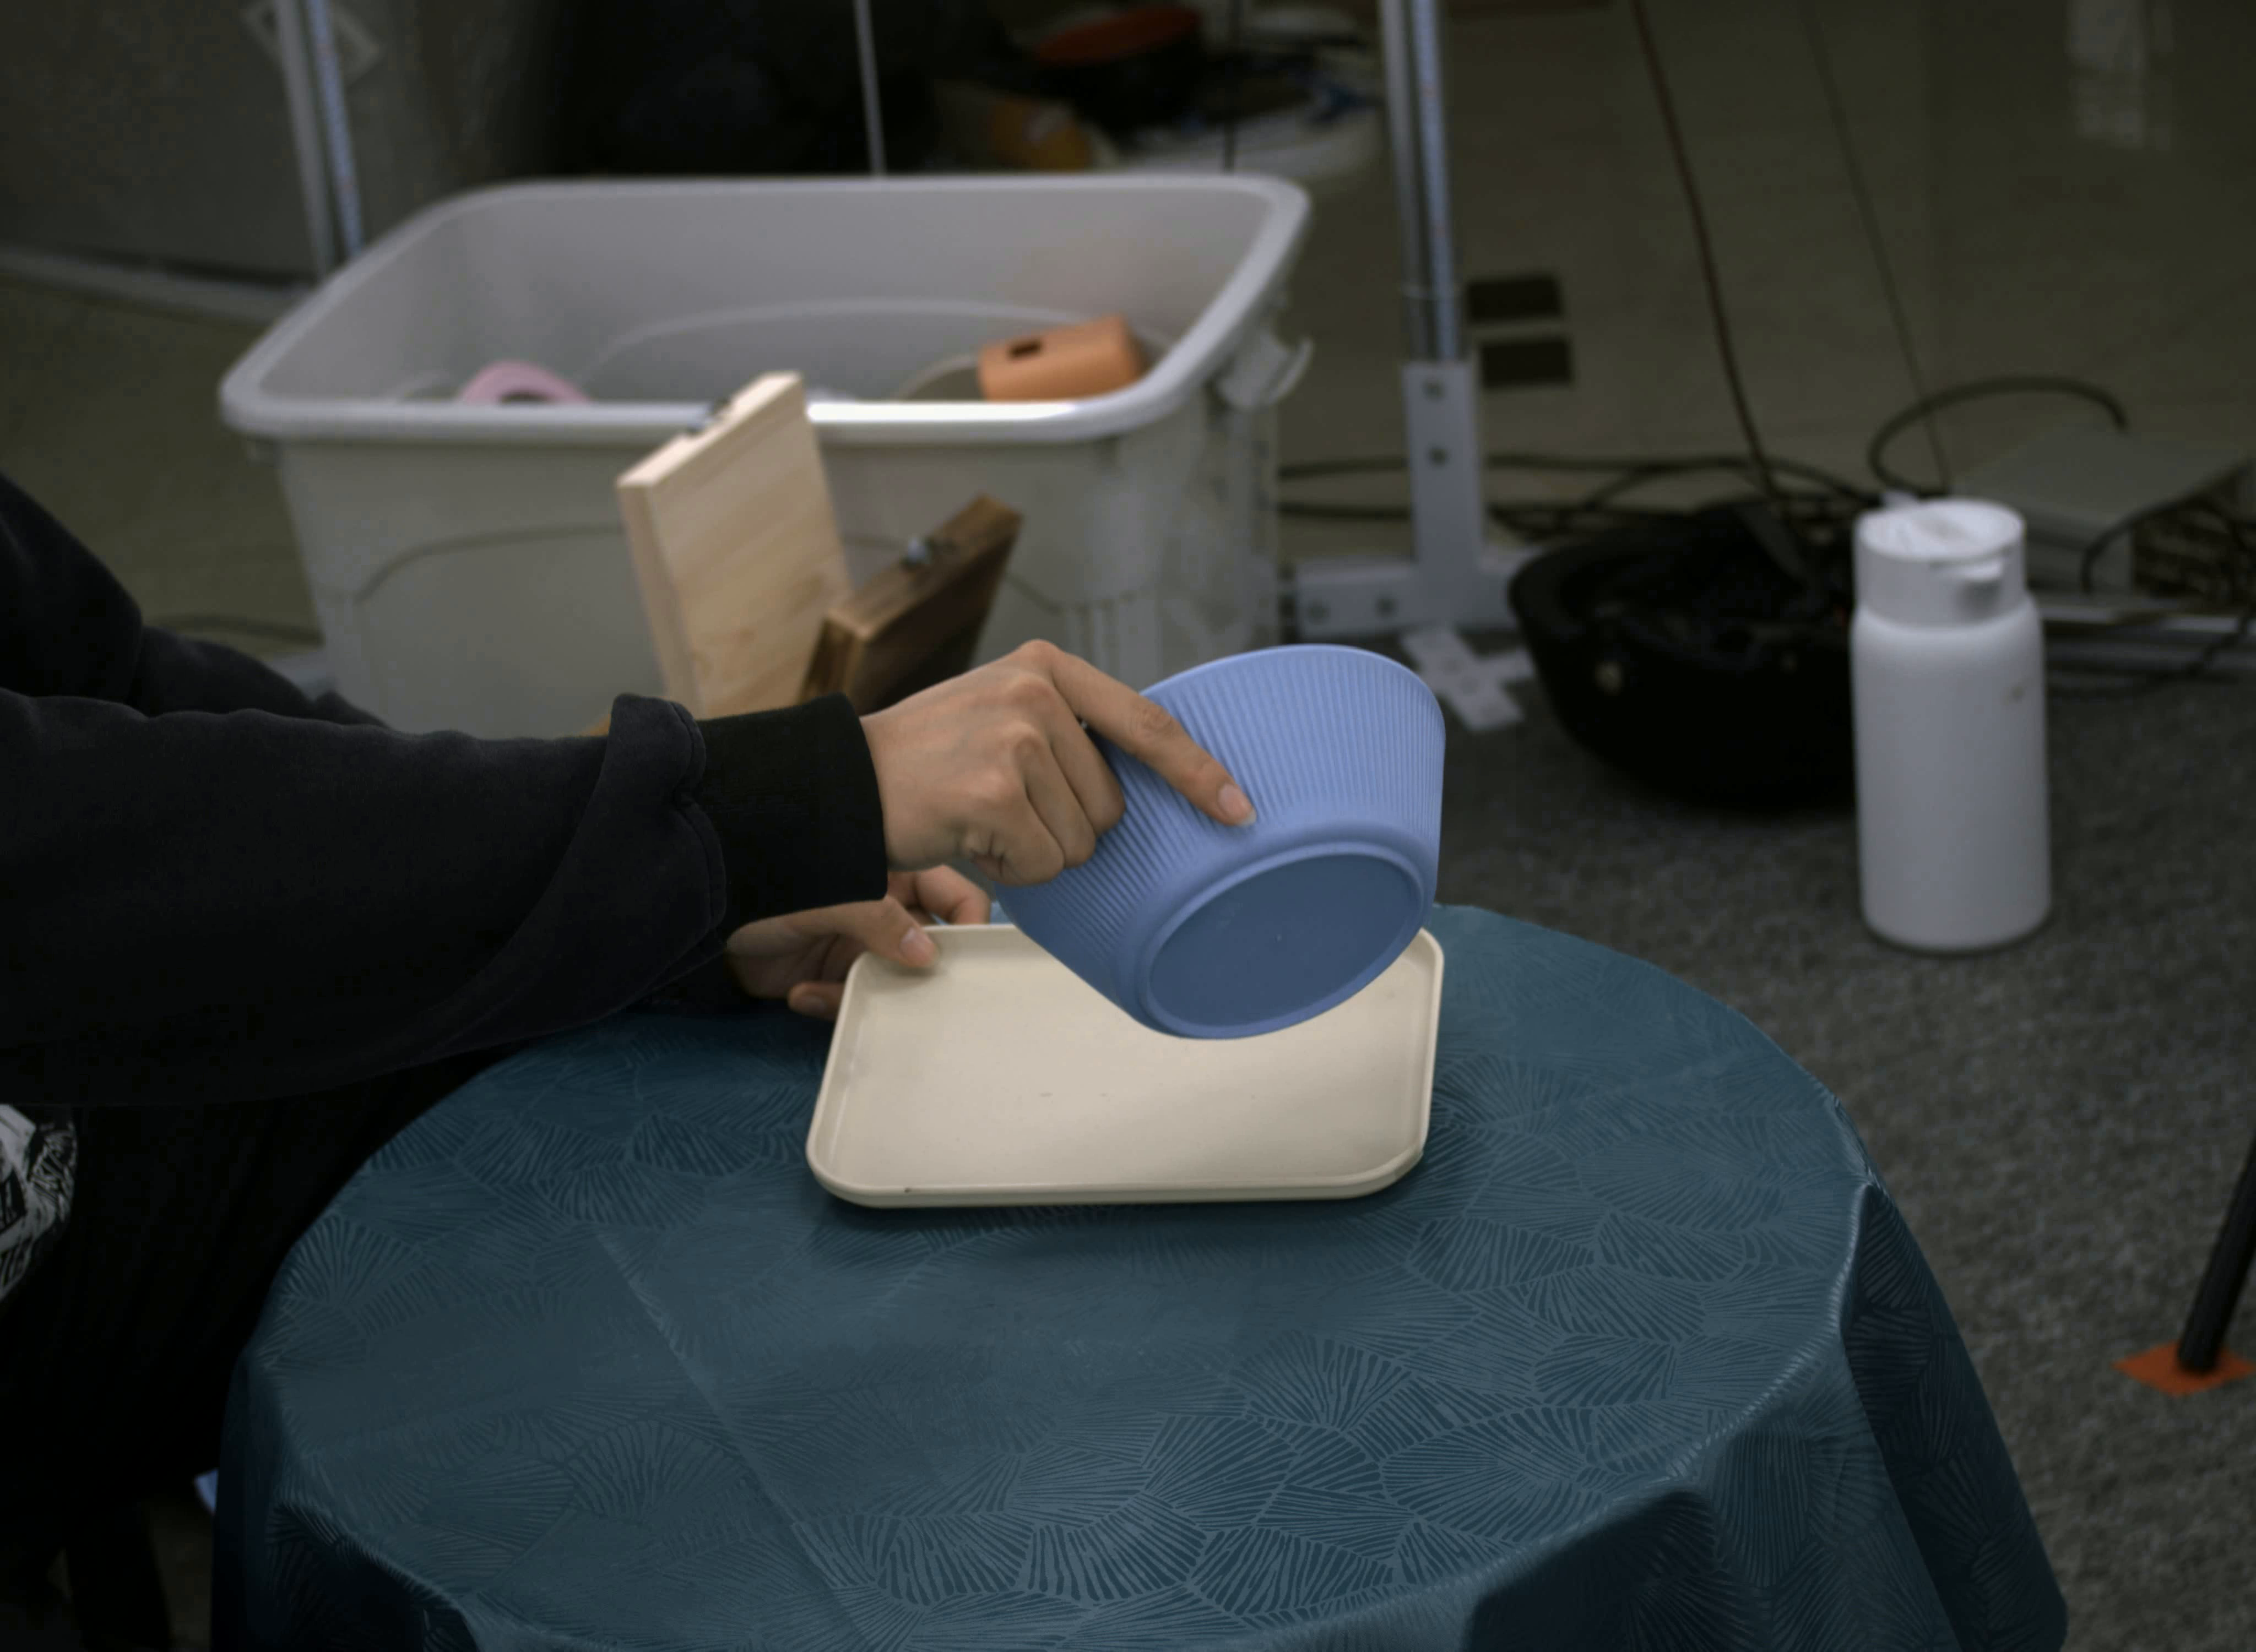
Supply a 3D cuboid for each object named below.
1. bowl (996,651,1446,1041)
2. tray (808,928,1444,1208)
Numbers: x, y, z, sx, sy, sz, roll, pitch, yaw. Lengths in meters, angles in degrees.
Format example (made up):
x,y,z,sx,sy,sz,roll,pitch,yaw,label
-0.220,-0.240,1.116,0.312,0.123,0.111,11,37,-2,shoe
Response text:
x,y,z,sx,sy,sz,roll,pitch,yaw,label
0.045,0.018,2.041,0.175,0.179,0.069,-13,57,-16,bowl
0.001,0.093,2.199,0.239,0.018,0.168,-2,35,9,tray
